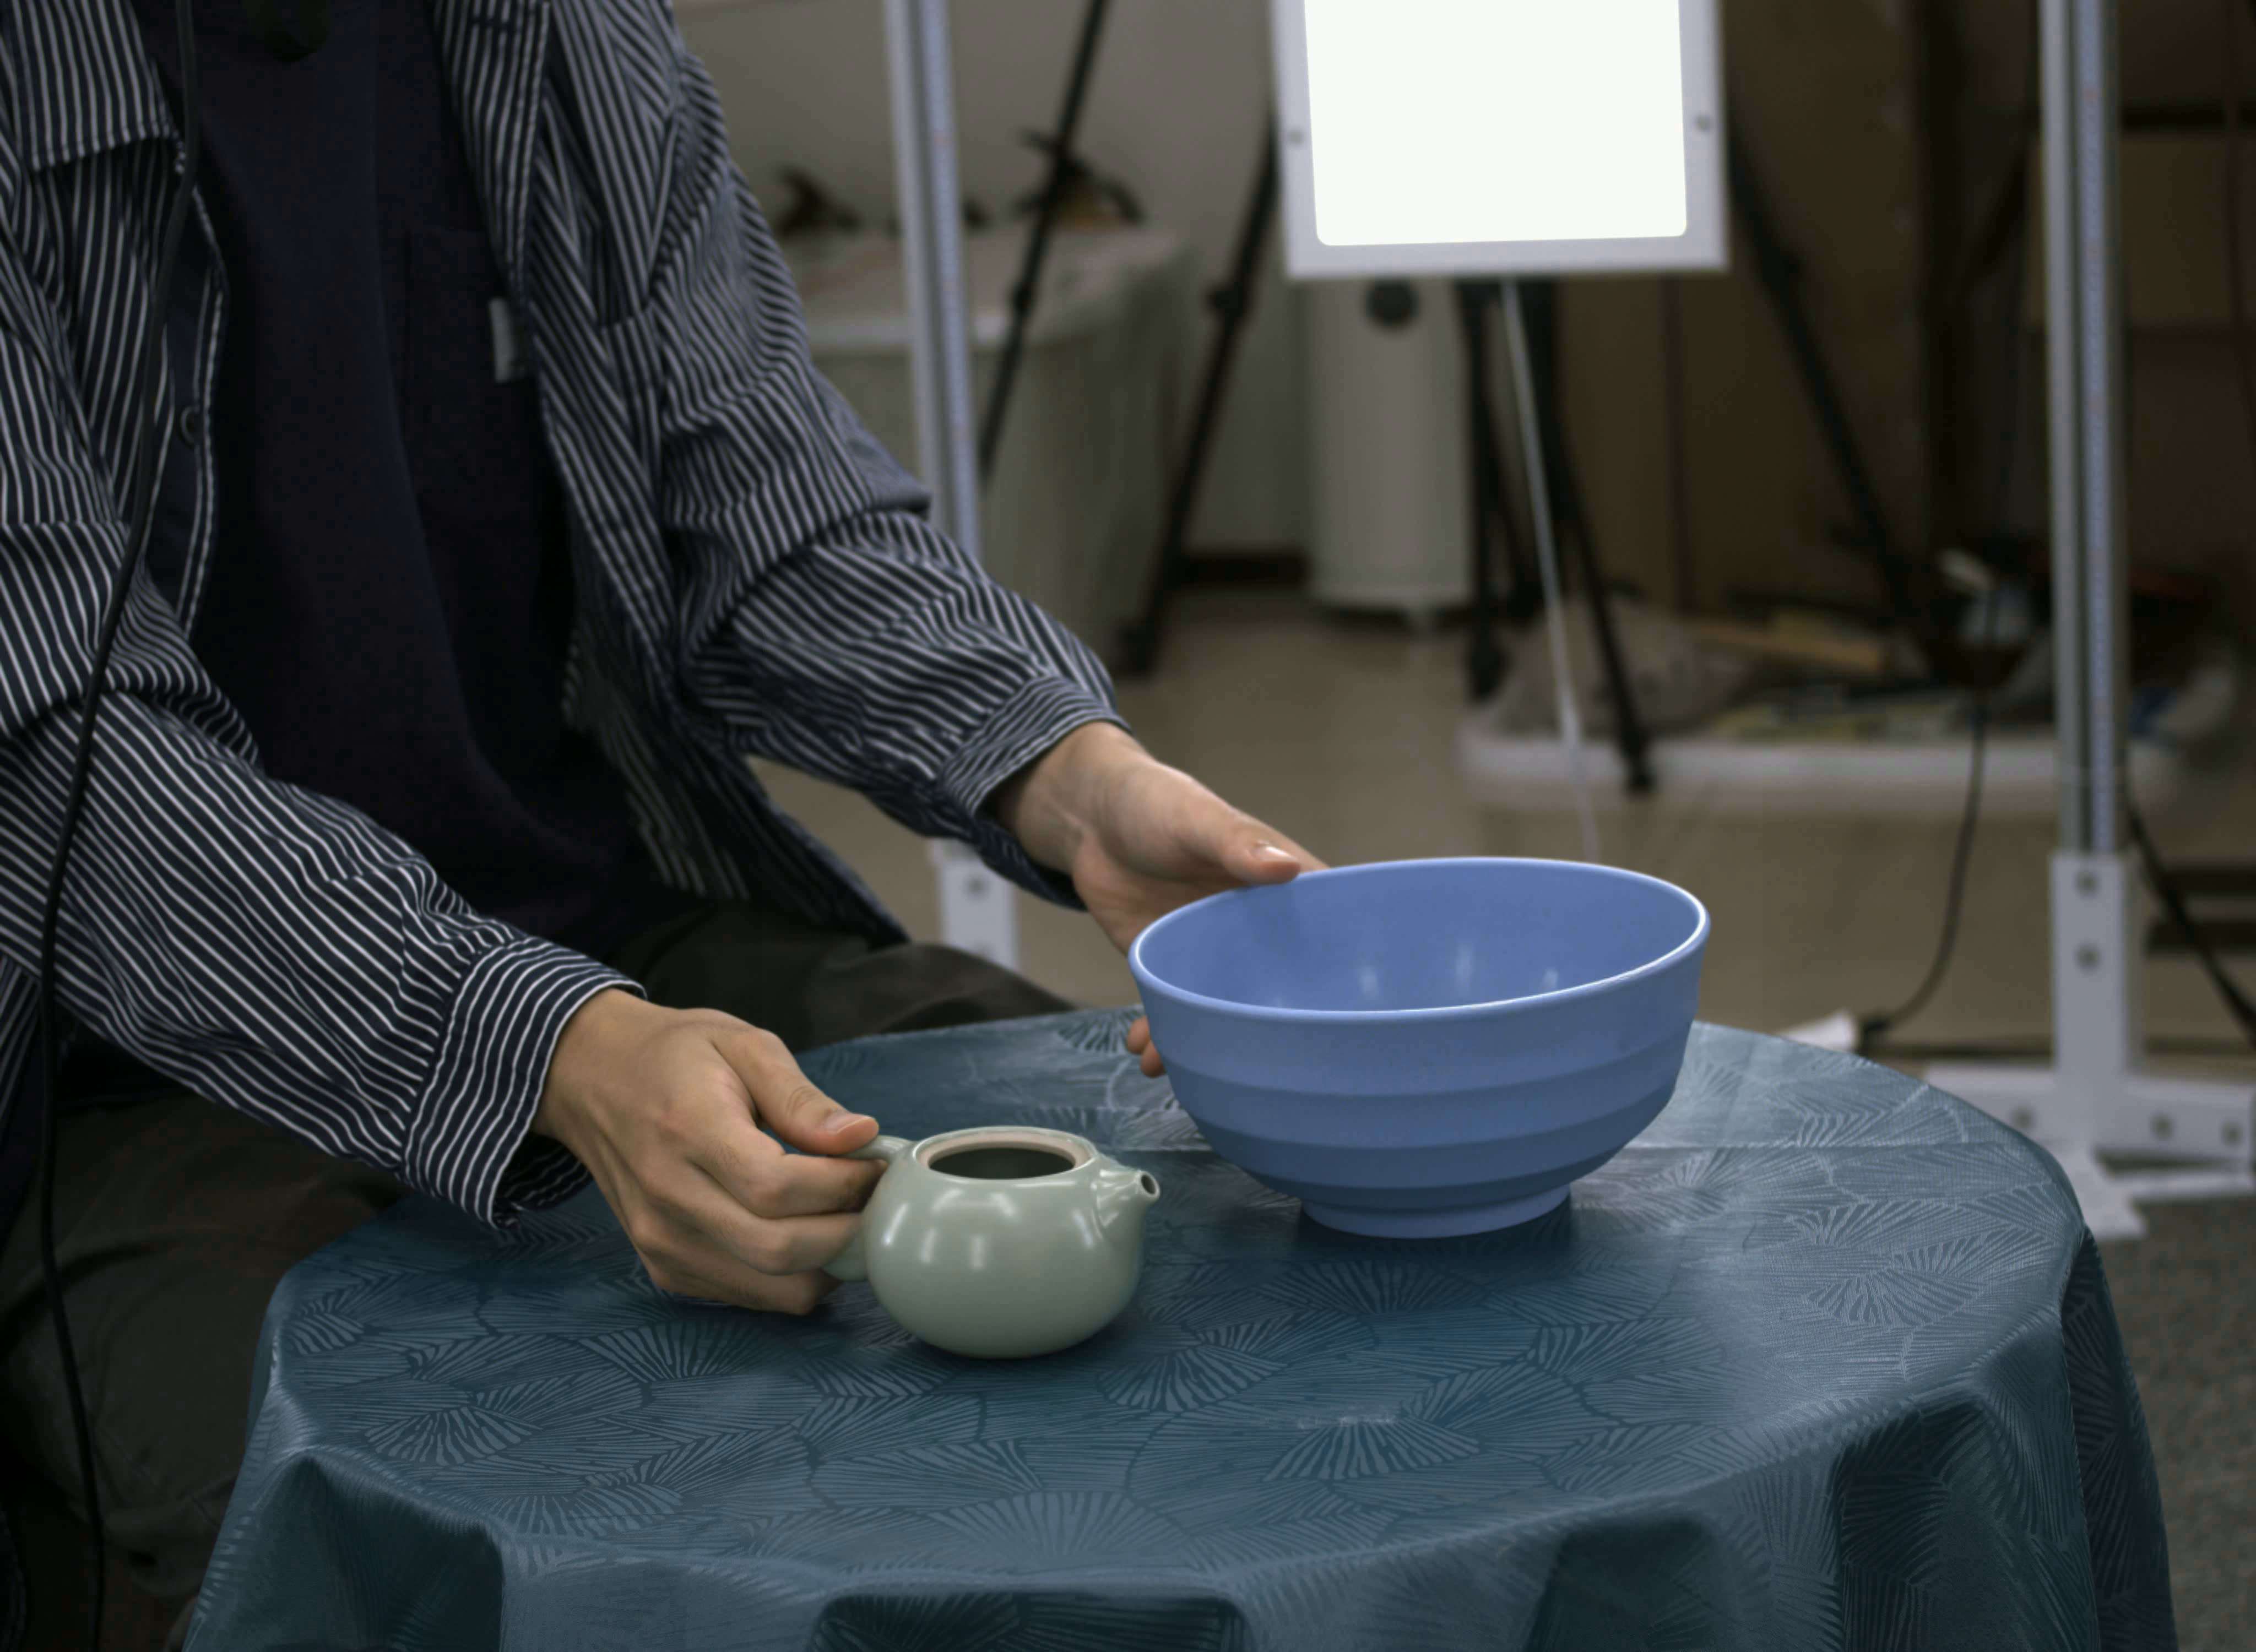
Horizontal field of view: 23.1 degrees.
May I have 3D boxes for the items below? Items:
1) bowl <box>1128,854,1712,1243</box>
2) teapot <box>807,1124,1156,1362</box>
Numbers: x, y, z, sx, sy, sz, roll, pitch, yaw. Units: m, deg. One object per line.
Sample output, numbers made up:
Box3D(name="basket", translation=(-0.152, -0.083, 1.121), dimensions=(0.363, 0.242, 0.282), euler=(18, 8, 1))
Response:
Box3D(name="bowl", translation=(0.101, 0.081, 1.848), dimensions=(0.196, 0.096, 0.196), euler=(-6, 14, 0))
Box3D(name="teapot", translation=(-0.048, 0.131, 1.755), dimensions=(0.131, 0.061, 0.089), euler=(7, 18, 31))
